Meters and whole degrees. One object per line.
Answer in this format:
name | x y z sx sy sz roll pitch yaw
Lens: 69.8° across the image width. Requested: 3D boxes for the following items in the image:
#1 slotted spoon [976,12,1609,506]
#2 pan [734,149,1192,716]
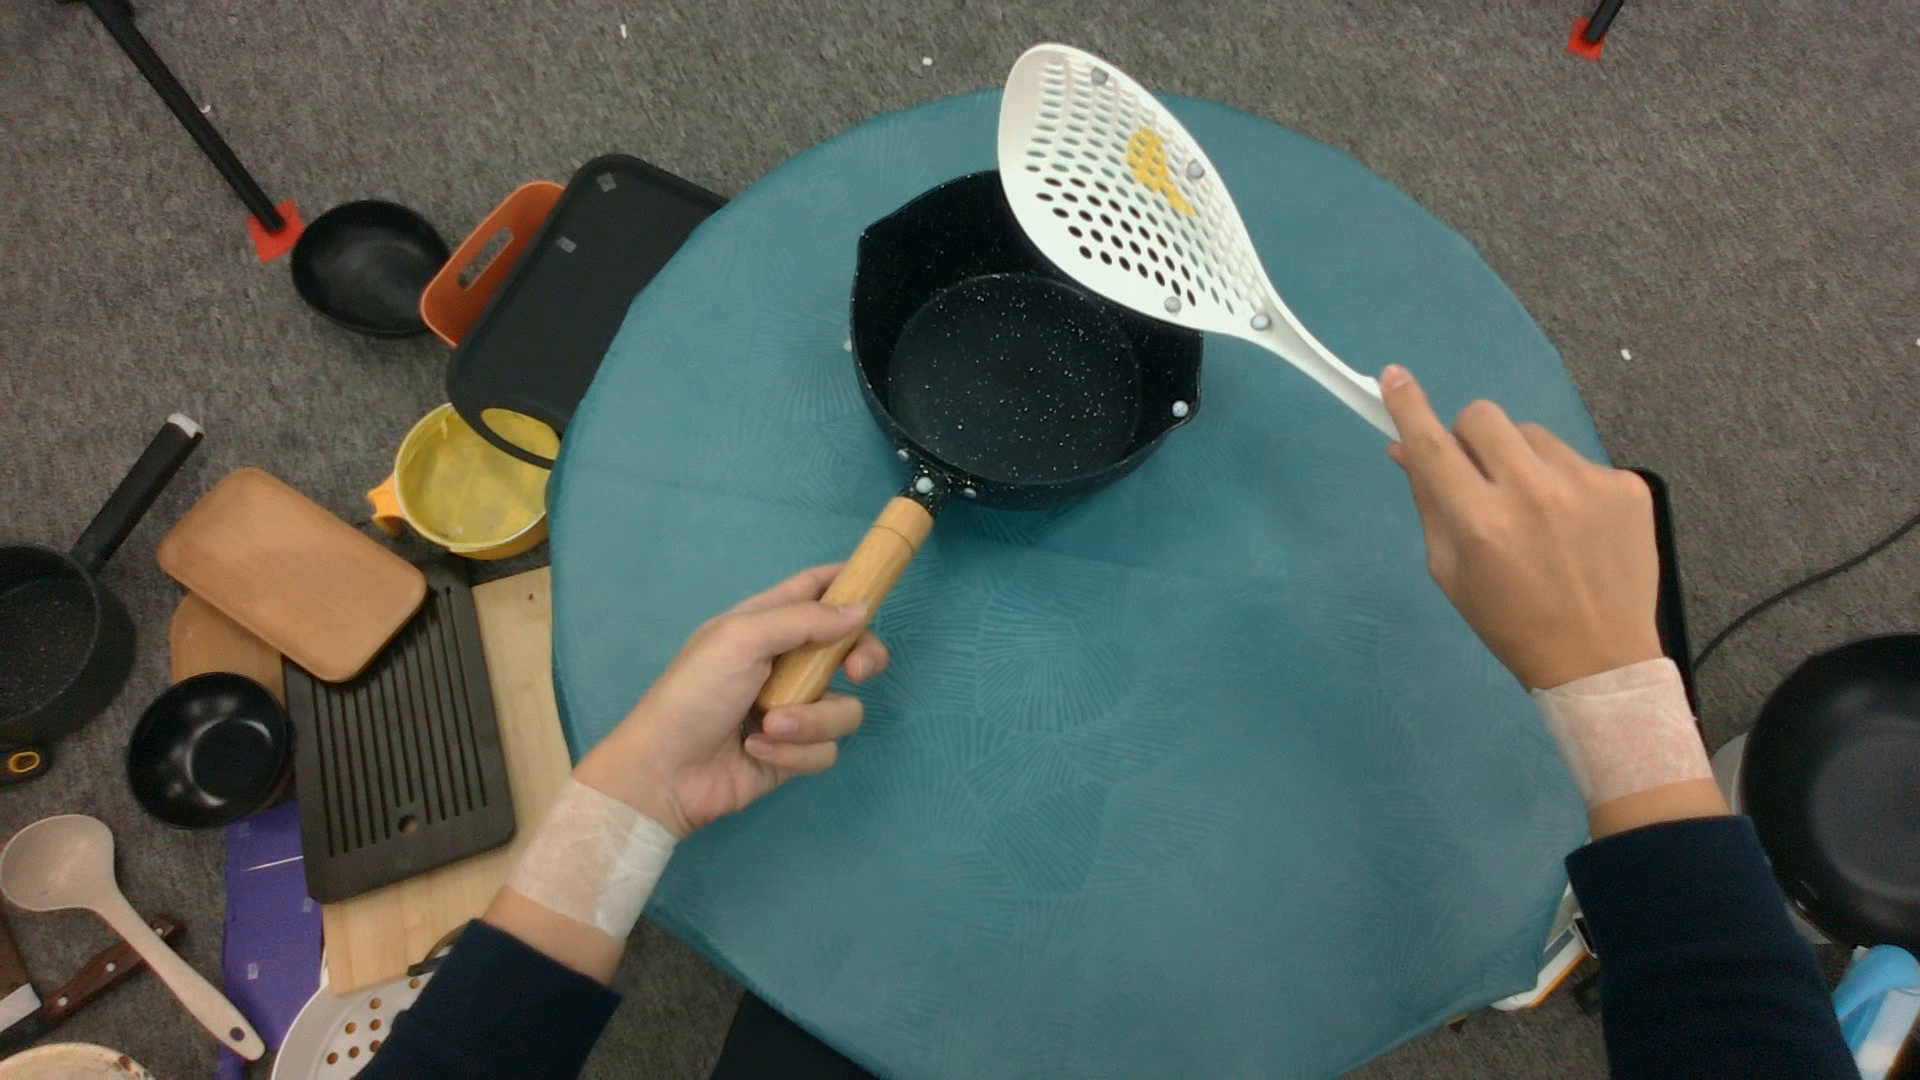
slotted spoon | 0.145 -0.119 0.642 0.050 0.136 0.348 -36 72 -28
pan | -0.011 -0.048 0.713 0.207 0.108 0.344 28 70 5
